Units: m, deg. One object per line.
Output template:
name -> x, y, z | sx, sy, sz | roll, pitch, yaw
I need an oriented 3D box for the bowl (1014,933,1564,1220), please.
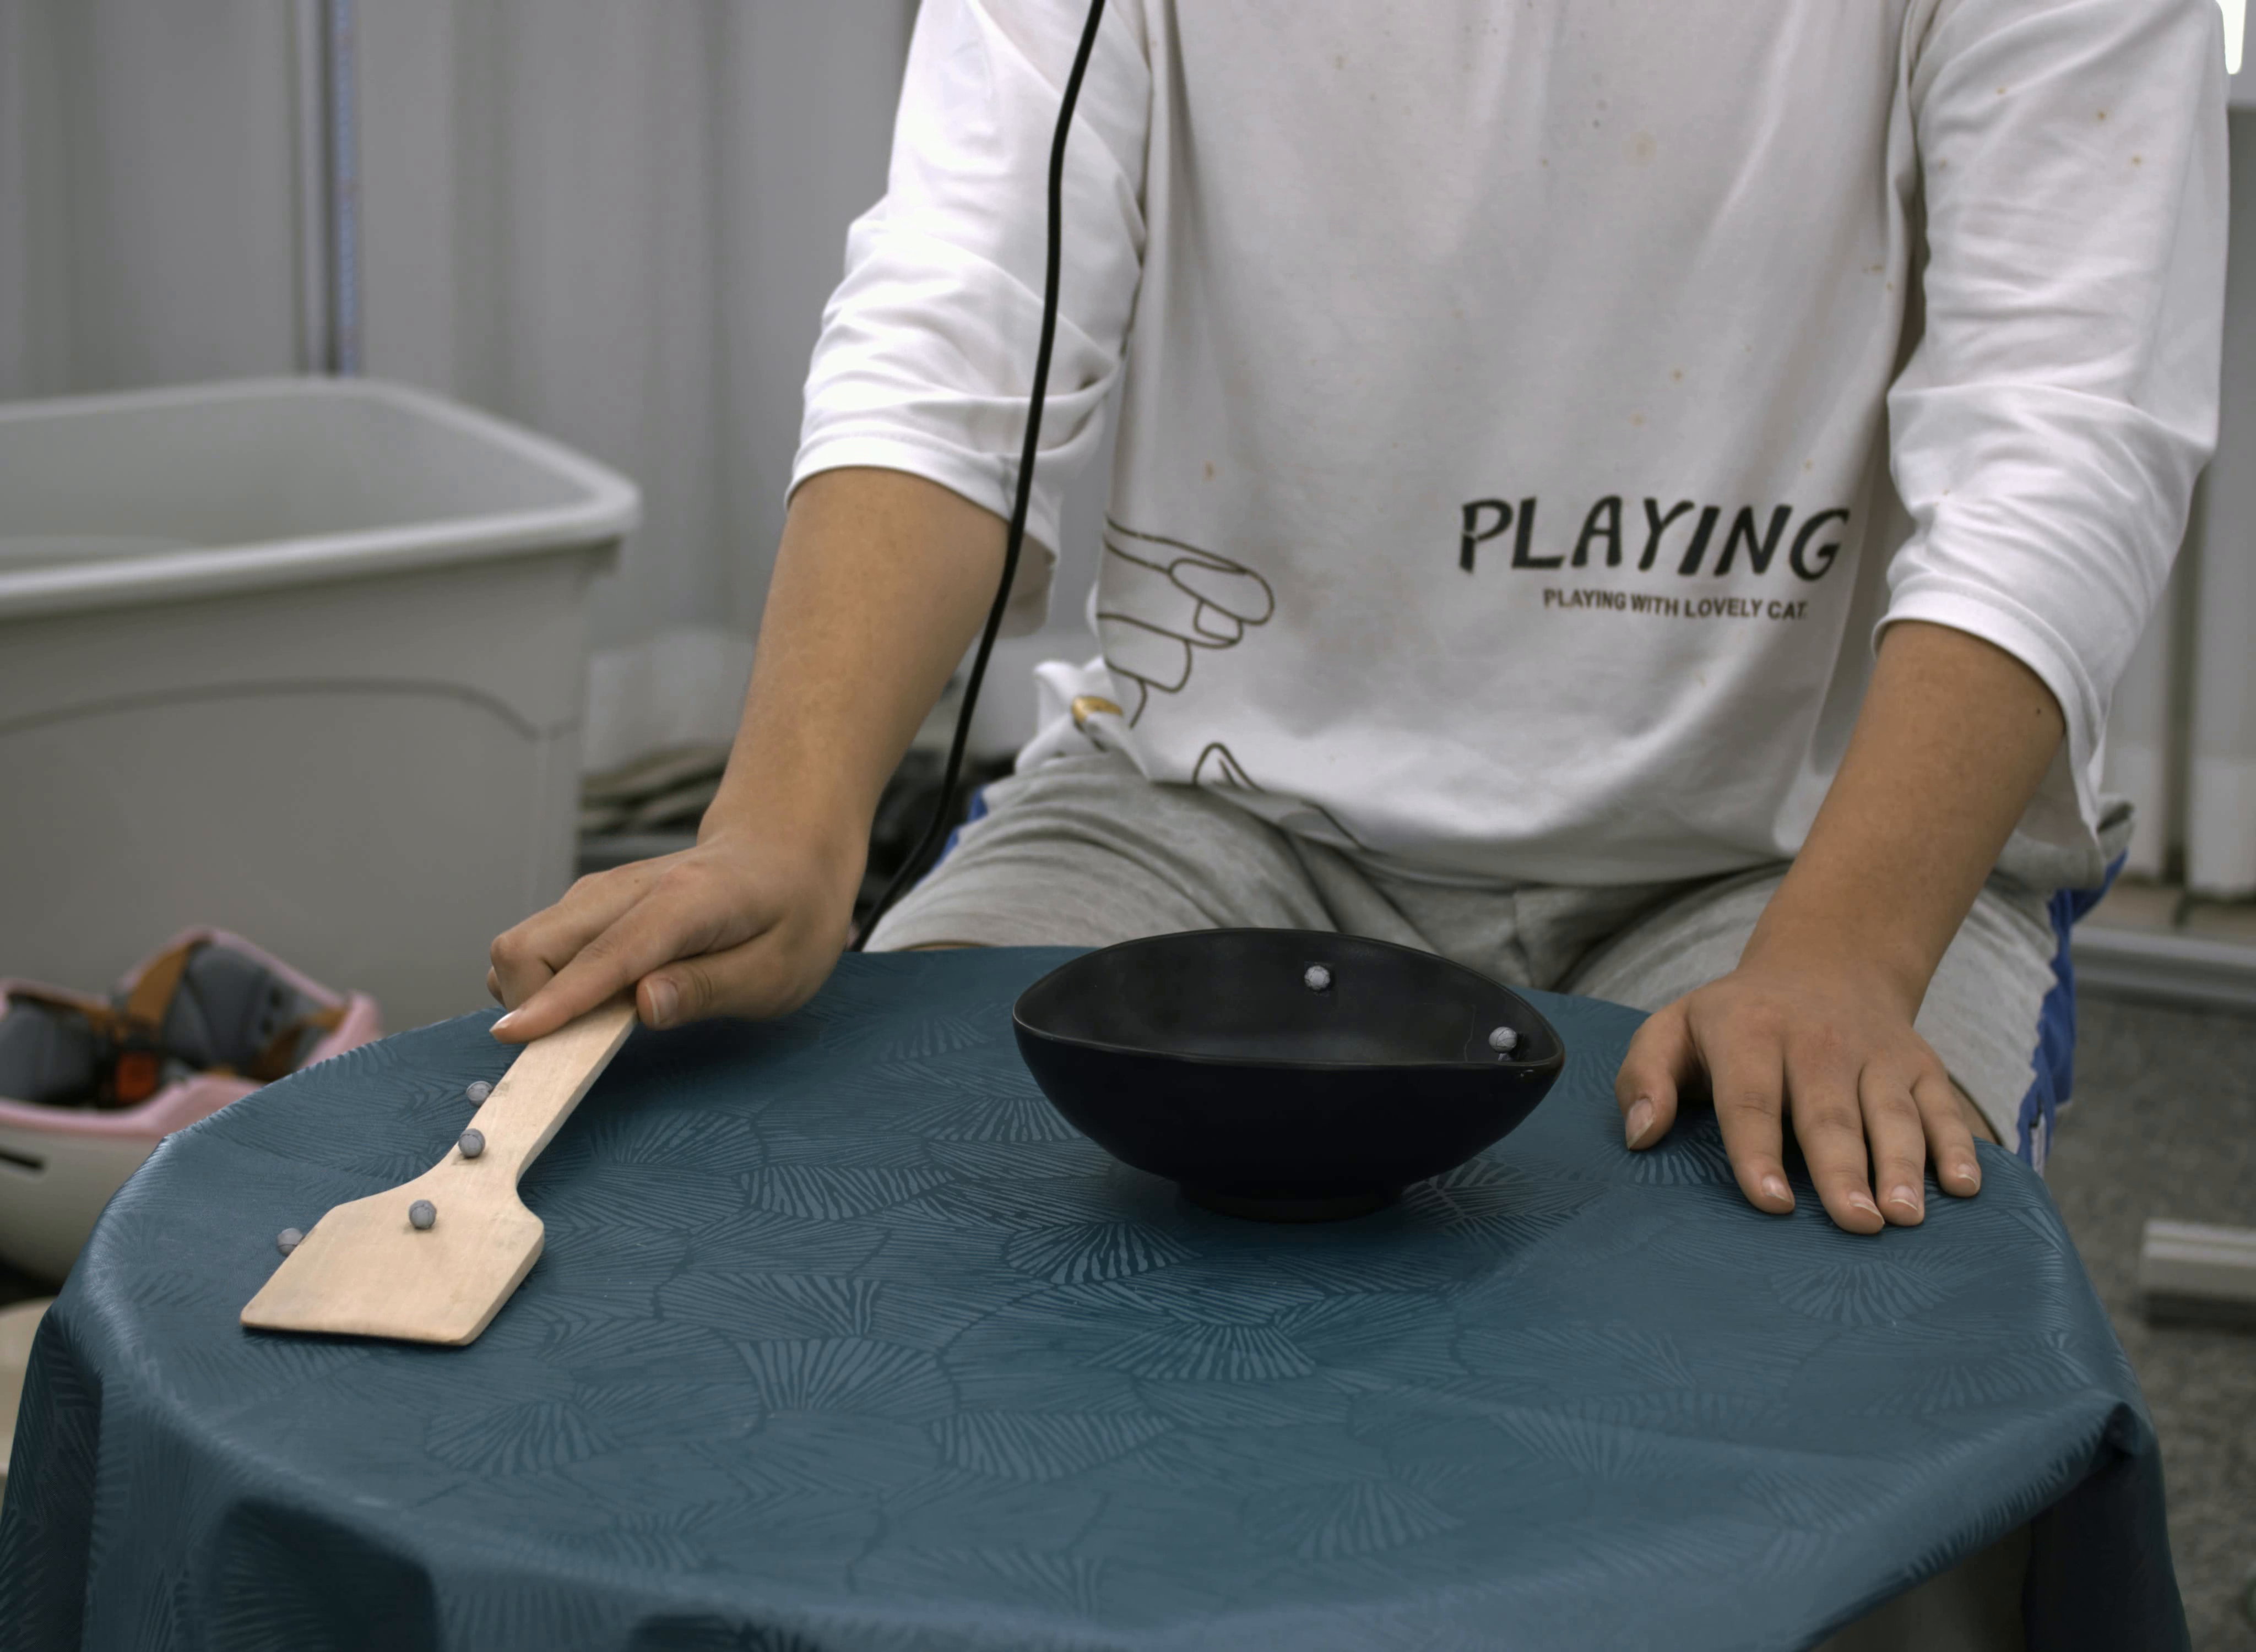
bowl -> 0.049, 0.081, 1.627 | 0.170, 0.067, 0.136 | 3, 15, 0

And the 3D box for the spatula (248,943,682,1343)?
spatula -> -0.191, 0.094, 1.626 | 0.072, 0.011, 0.292 | 3, 22, 11
